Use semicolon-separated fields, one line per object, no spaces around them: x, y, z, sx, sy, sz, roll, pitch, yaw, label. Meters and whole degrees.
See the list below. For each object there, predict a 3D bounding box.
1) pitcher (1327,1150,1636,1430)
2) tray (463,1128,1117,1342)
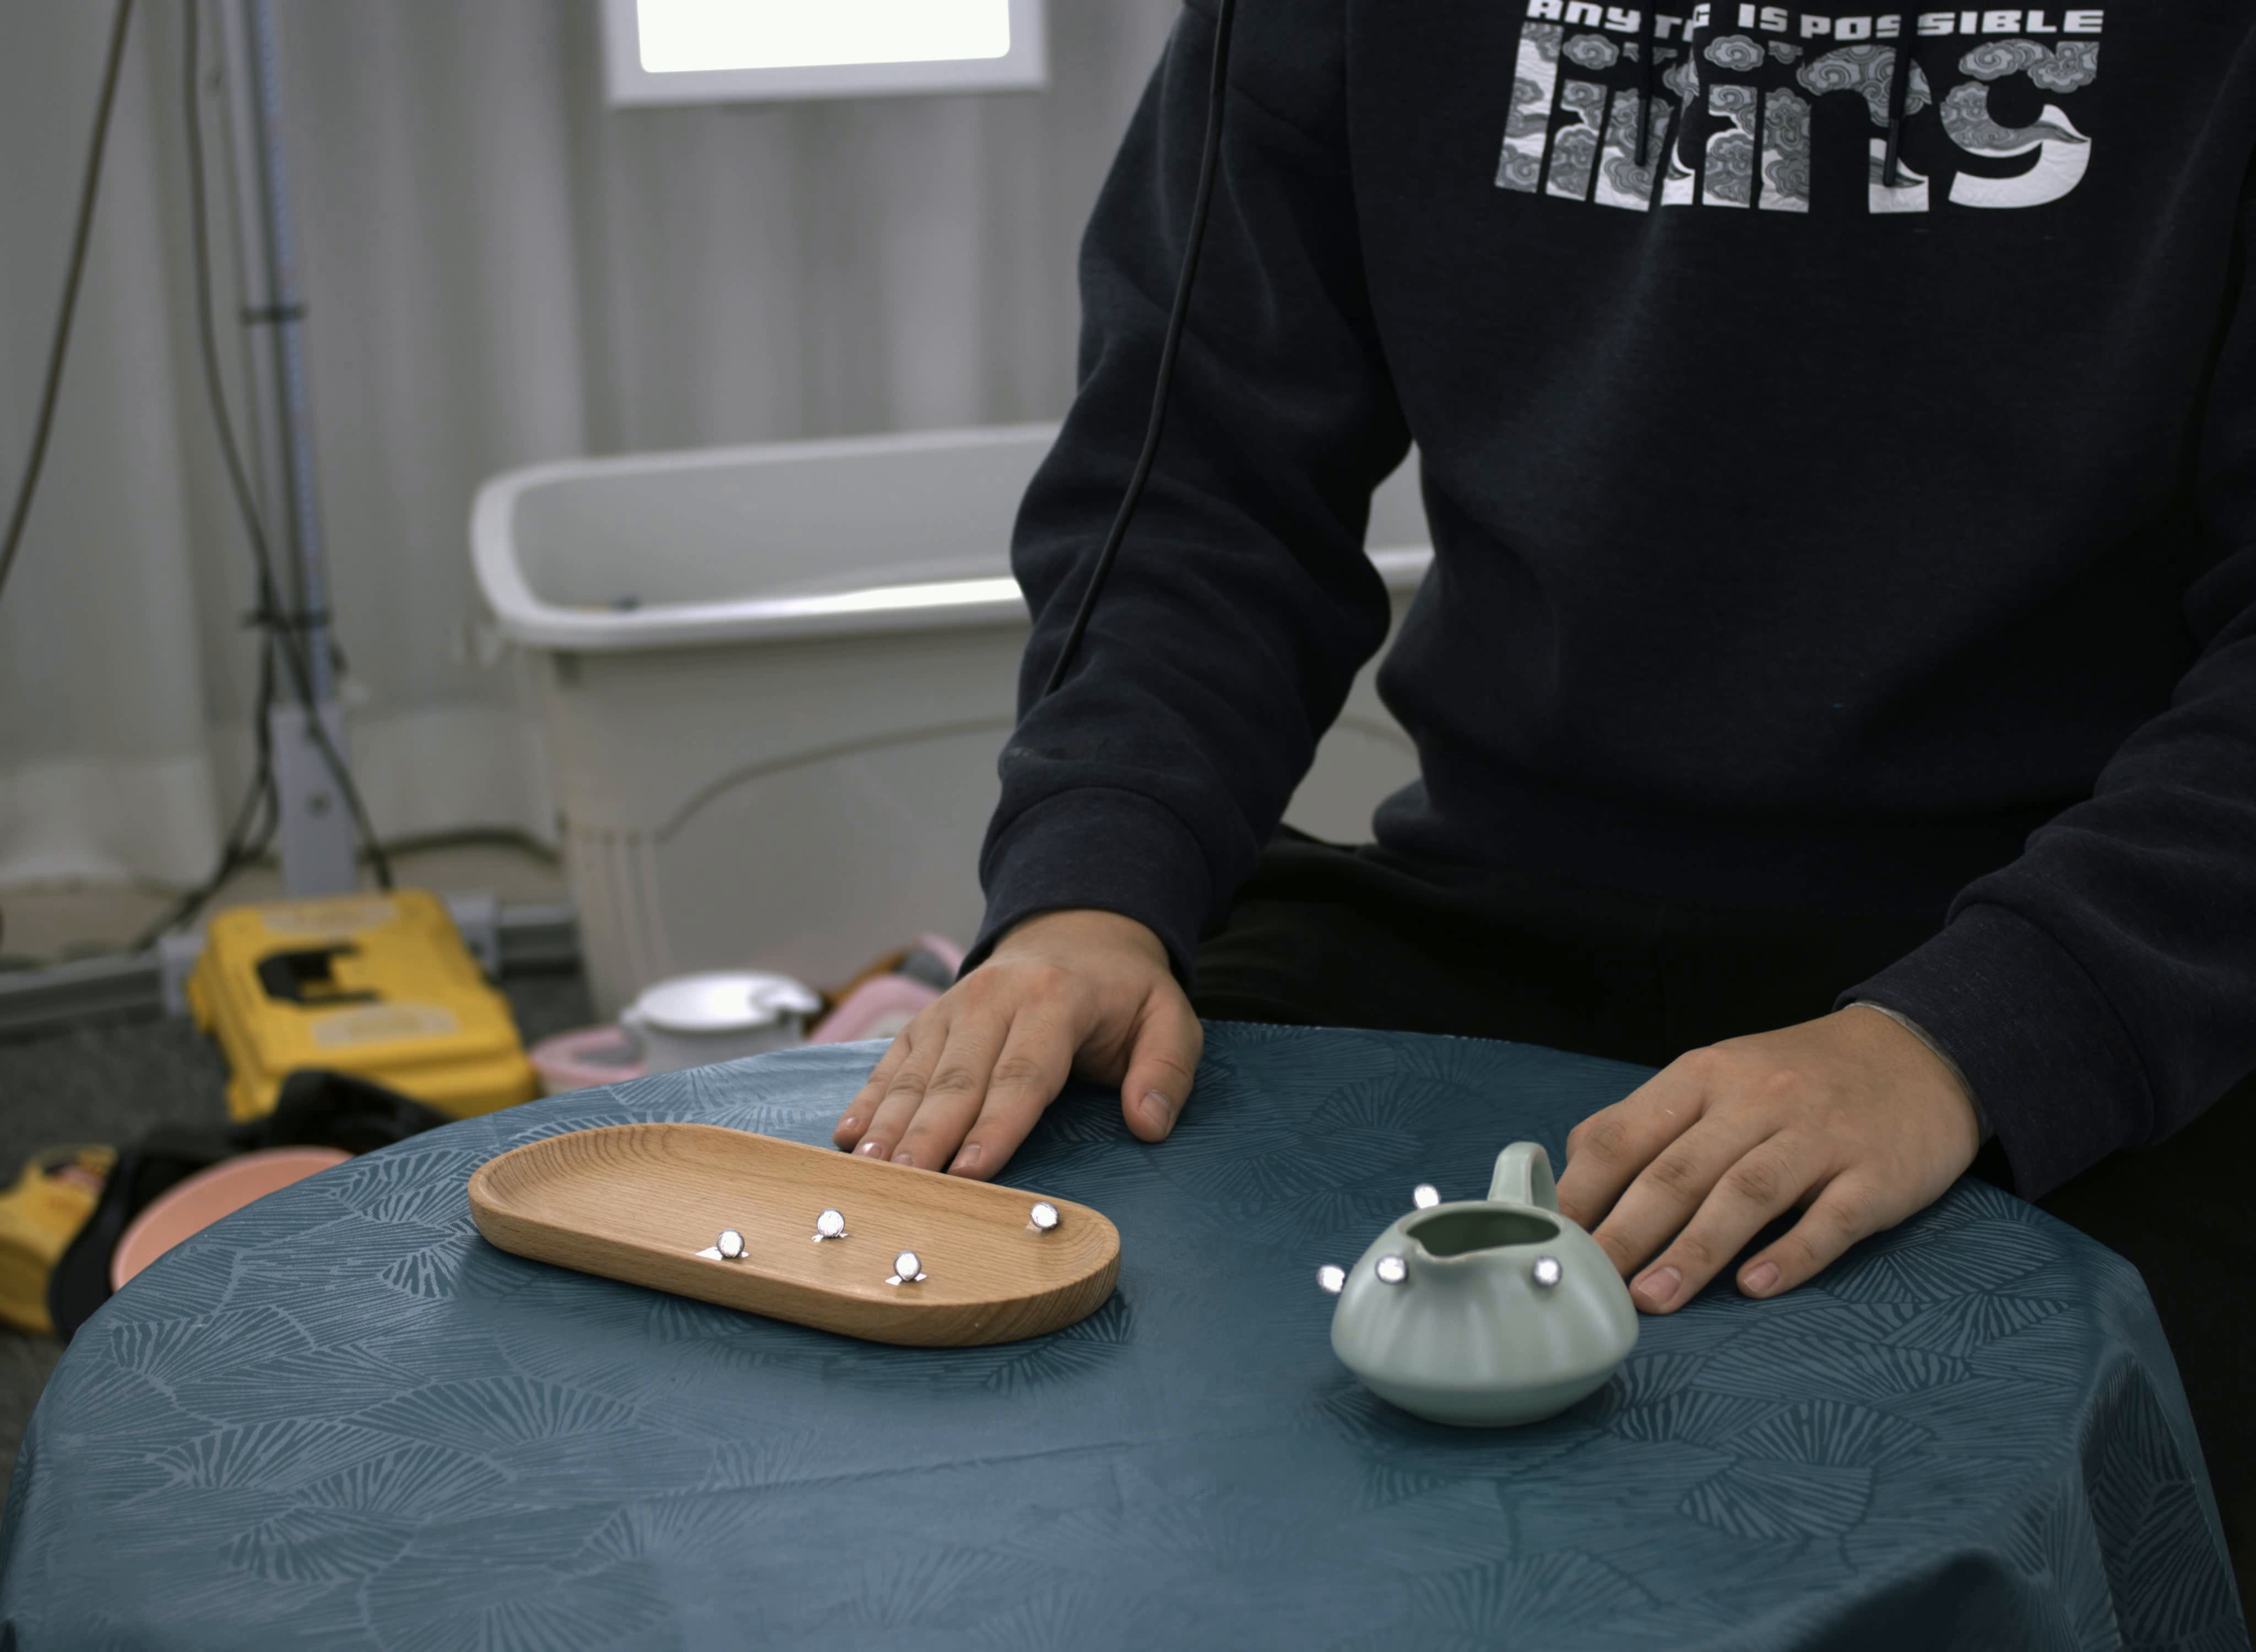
0.102;0.131;1.533;0.086;0.060;0.108;3;13;17;pitcher
-0.105;0.124;1.670;0.232;0.020;0.101;7;16;37;tray
